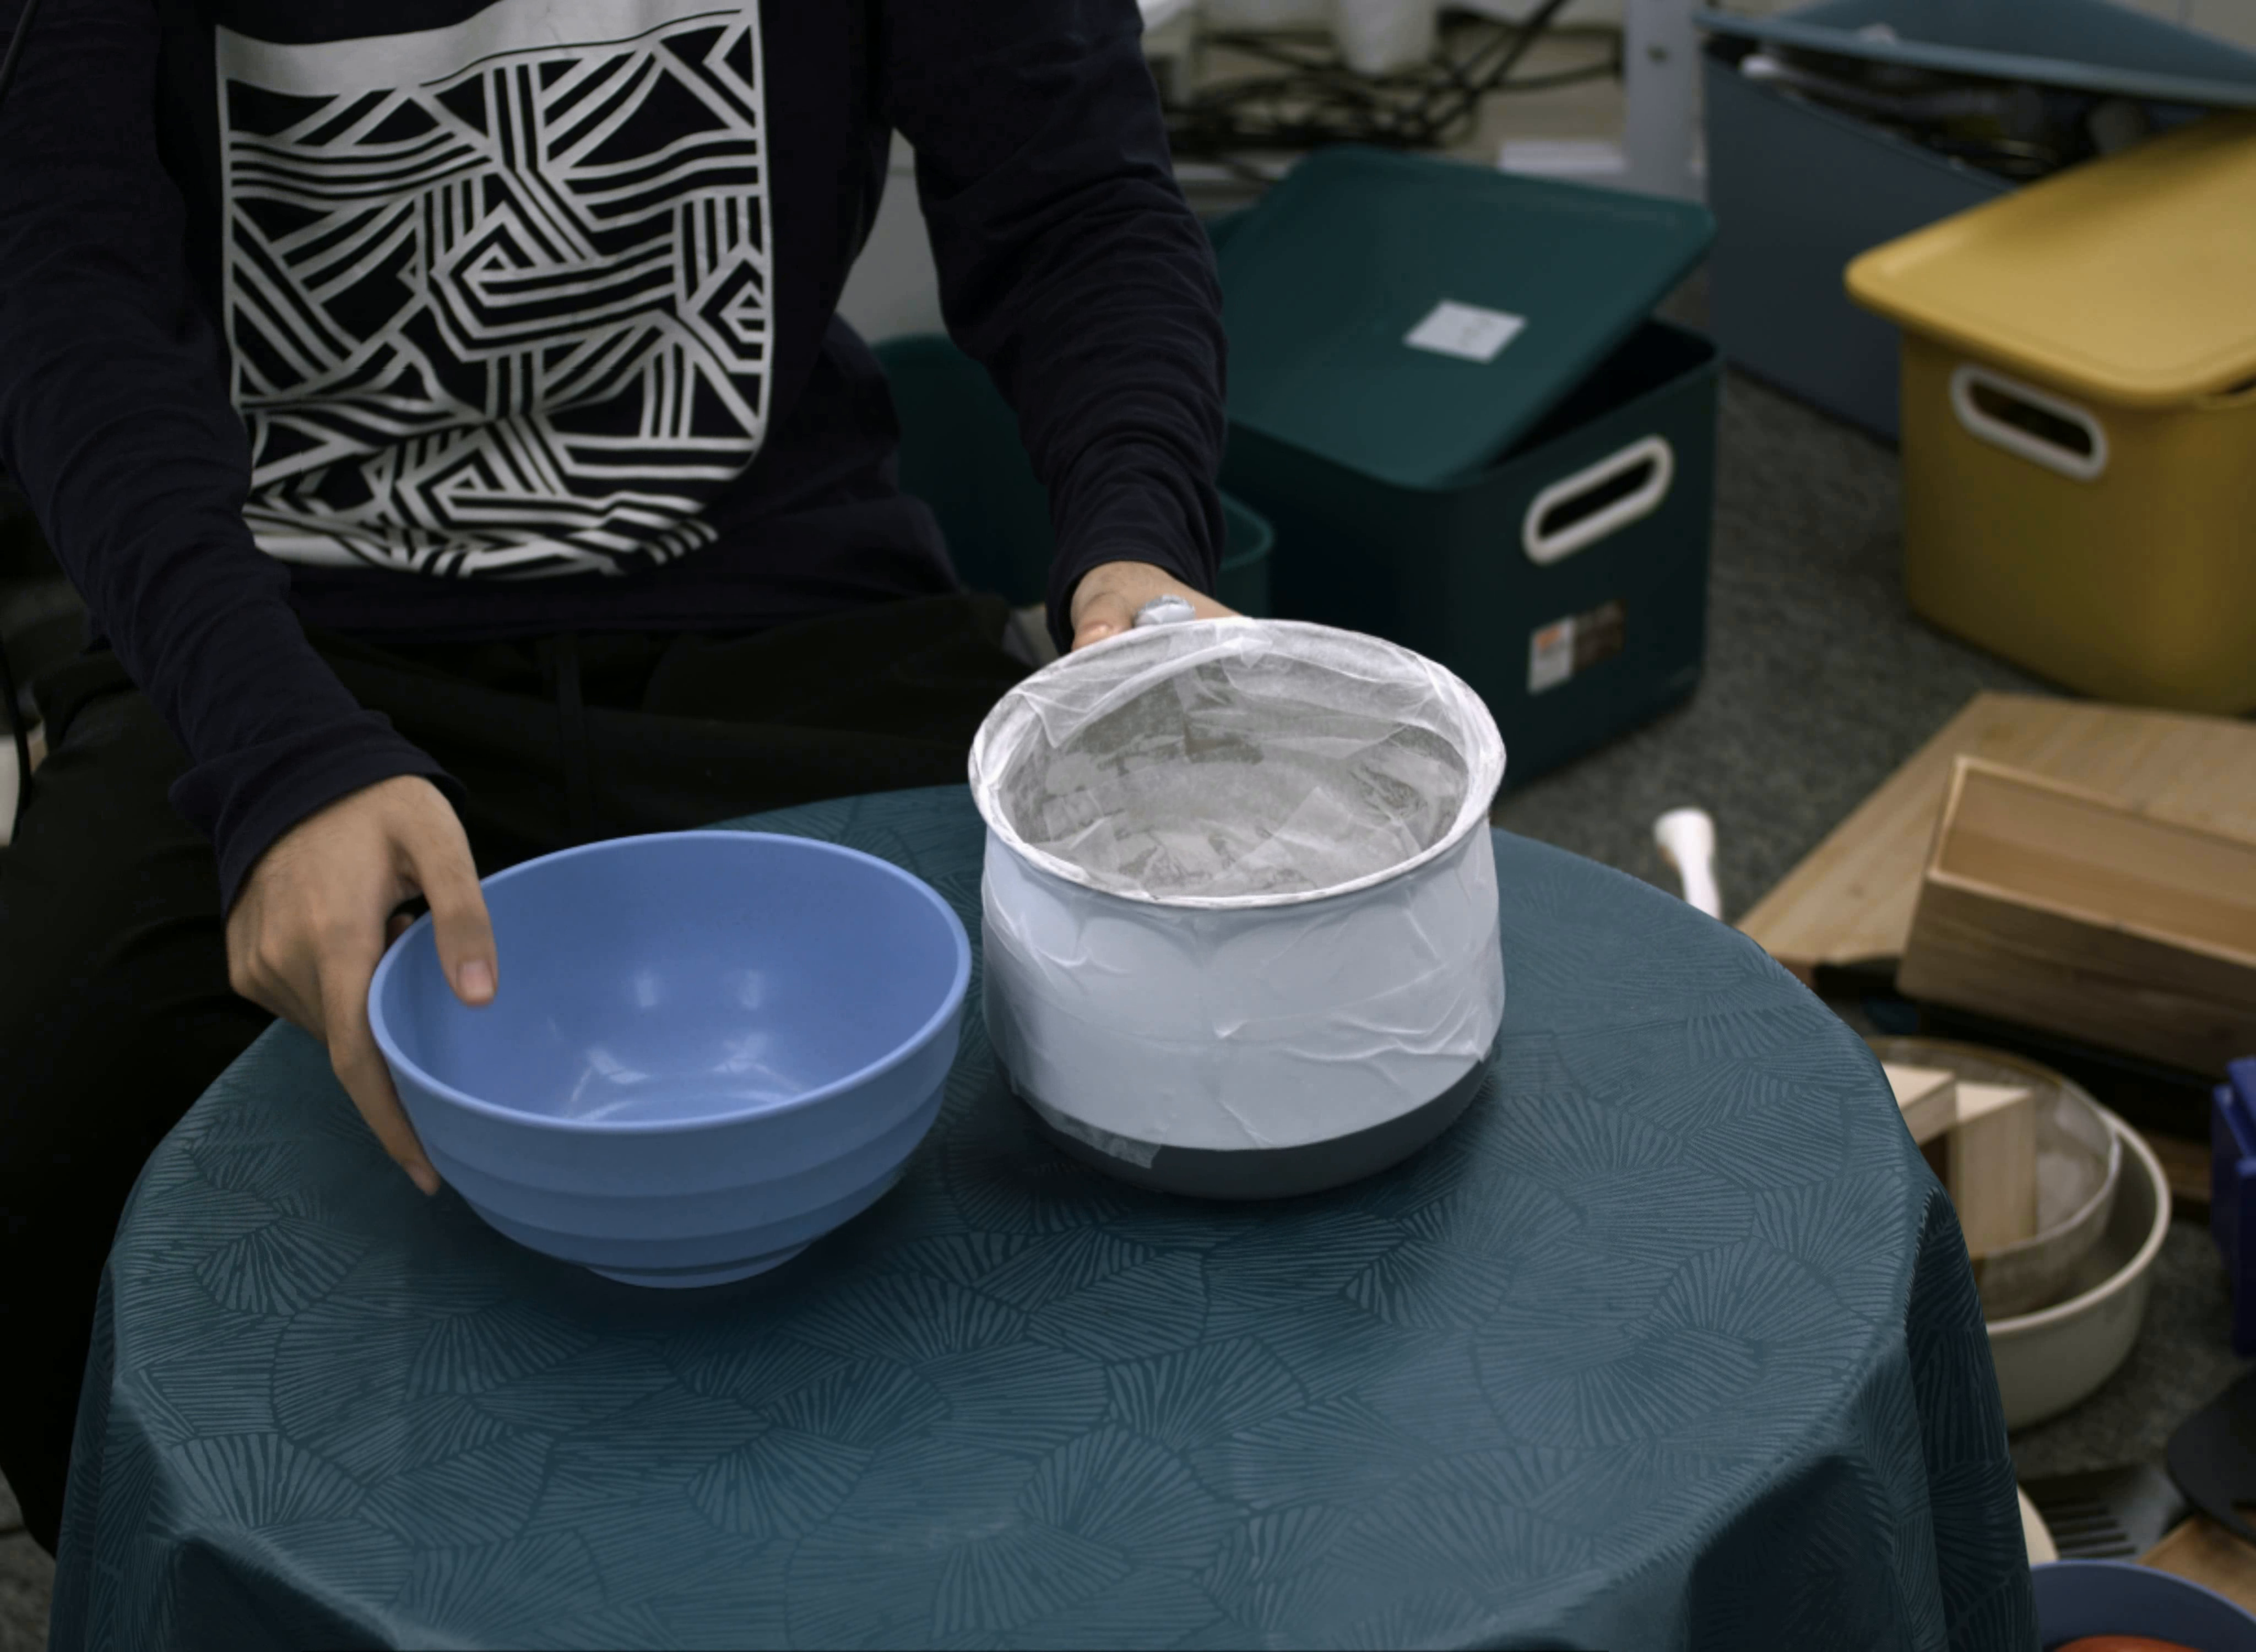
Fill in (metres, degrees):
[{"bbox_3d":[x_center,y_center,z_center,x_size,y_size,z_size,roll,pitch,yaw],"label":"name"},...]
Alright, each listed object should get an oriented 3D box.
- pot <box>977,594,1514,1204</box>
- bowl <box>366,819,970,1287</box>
[{"bbox_3d":[0.031,0.017,1.901,0.179,0.135,0.236,-7,32,-13],"label":"pot"},{"bbox_3d":[-0.146,0.086,1.837,0.195,0.094,0.199,-3,29,2],"label":"bowl"}]
